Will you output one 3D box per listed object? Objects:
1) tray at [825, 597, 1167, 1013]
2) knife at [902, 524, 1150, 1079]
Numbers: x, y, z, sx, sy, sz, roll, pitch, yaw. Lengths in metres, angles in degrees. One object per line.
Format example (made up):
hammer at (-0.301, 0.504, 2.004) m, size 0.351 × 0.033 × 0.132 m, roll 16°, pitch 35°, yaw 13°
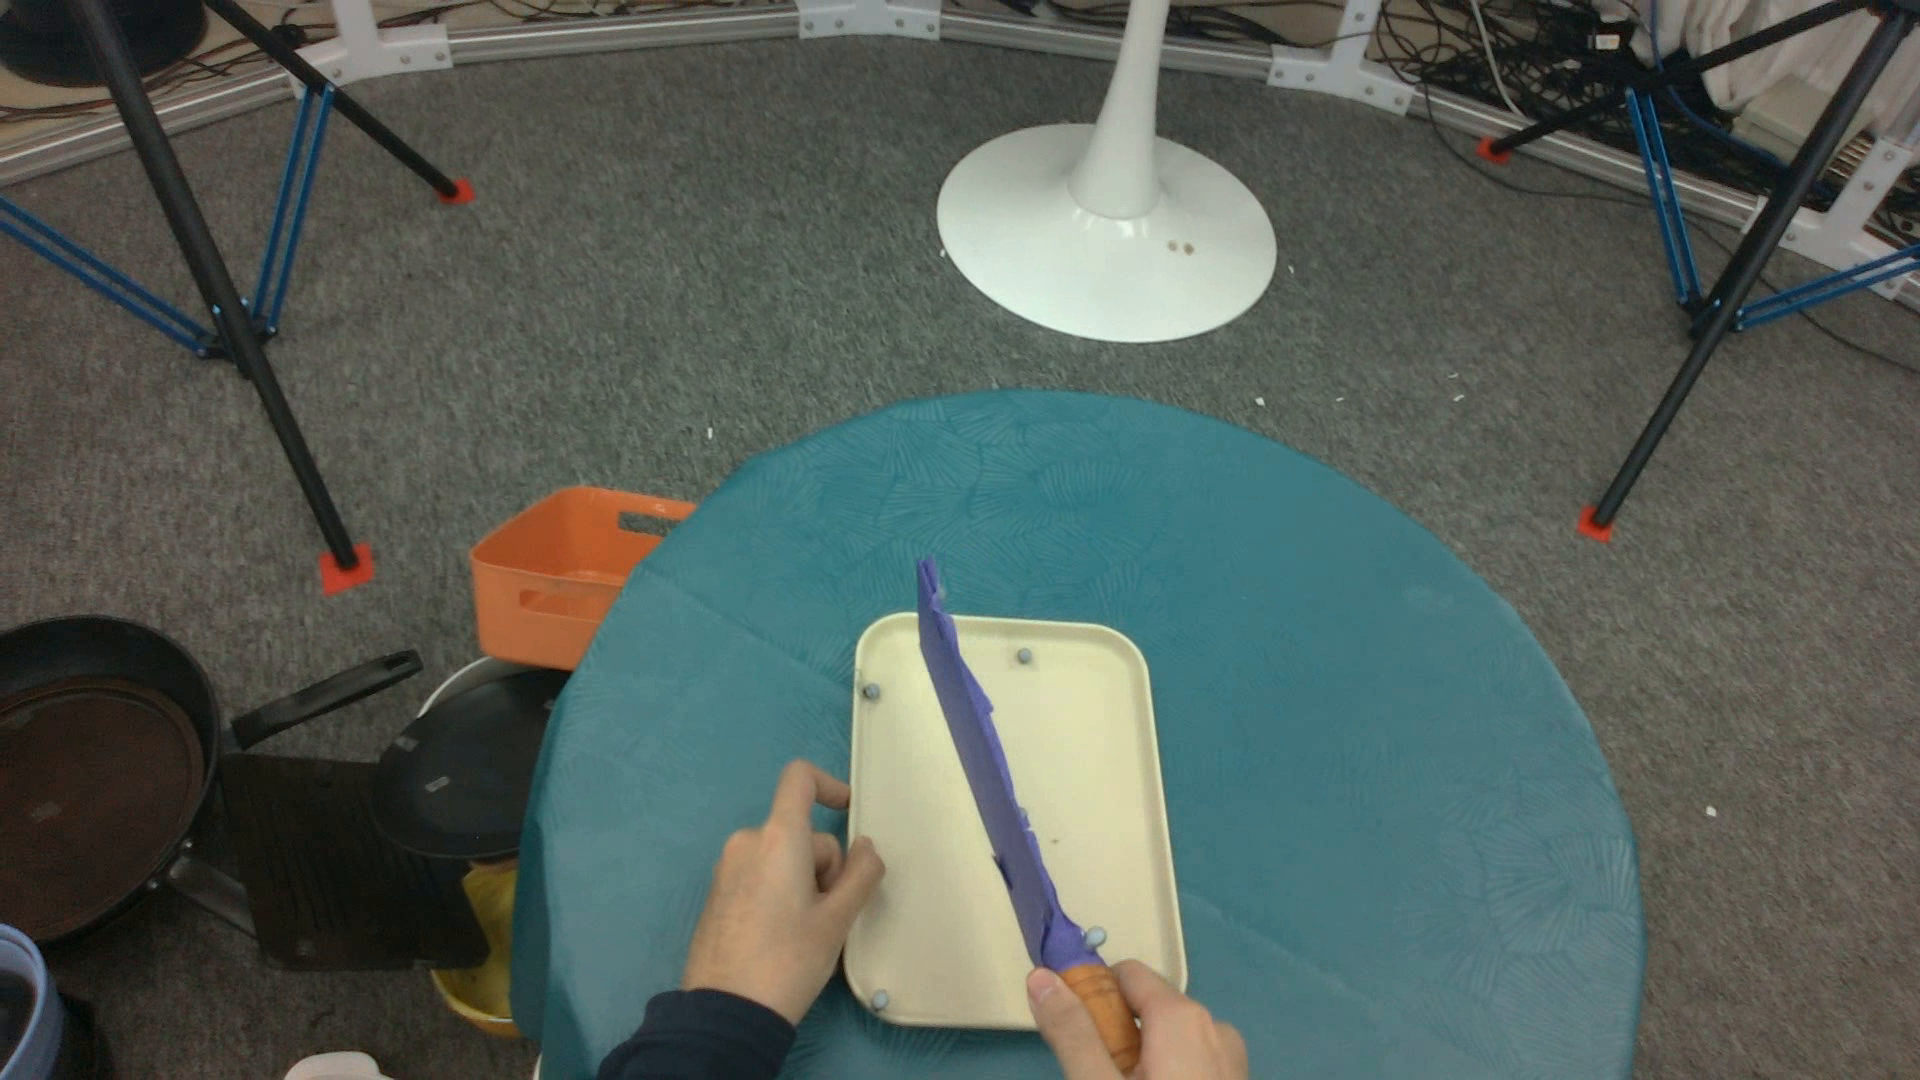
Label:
tray at (0.016, 0.134, 0.734) m, size 0.171 × 0.017 × 0.241 m, roll 5°, pitch 50°, yaw -8°
knife at (0.024, 0.140, 0.633) m, size 0.032 × 0.103 × 0.316 m, roll -14°, pitch 55°, yaw -10°
